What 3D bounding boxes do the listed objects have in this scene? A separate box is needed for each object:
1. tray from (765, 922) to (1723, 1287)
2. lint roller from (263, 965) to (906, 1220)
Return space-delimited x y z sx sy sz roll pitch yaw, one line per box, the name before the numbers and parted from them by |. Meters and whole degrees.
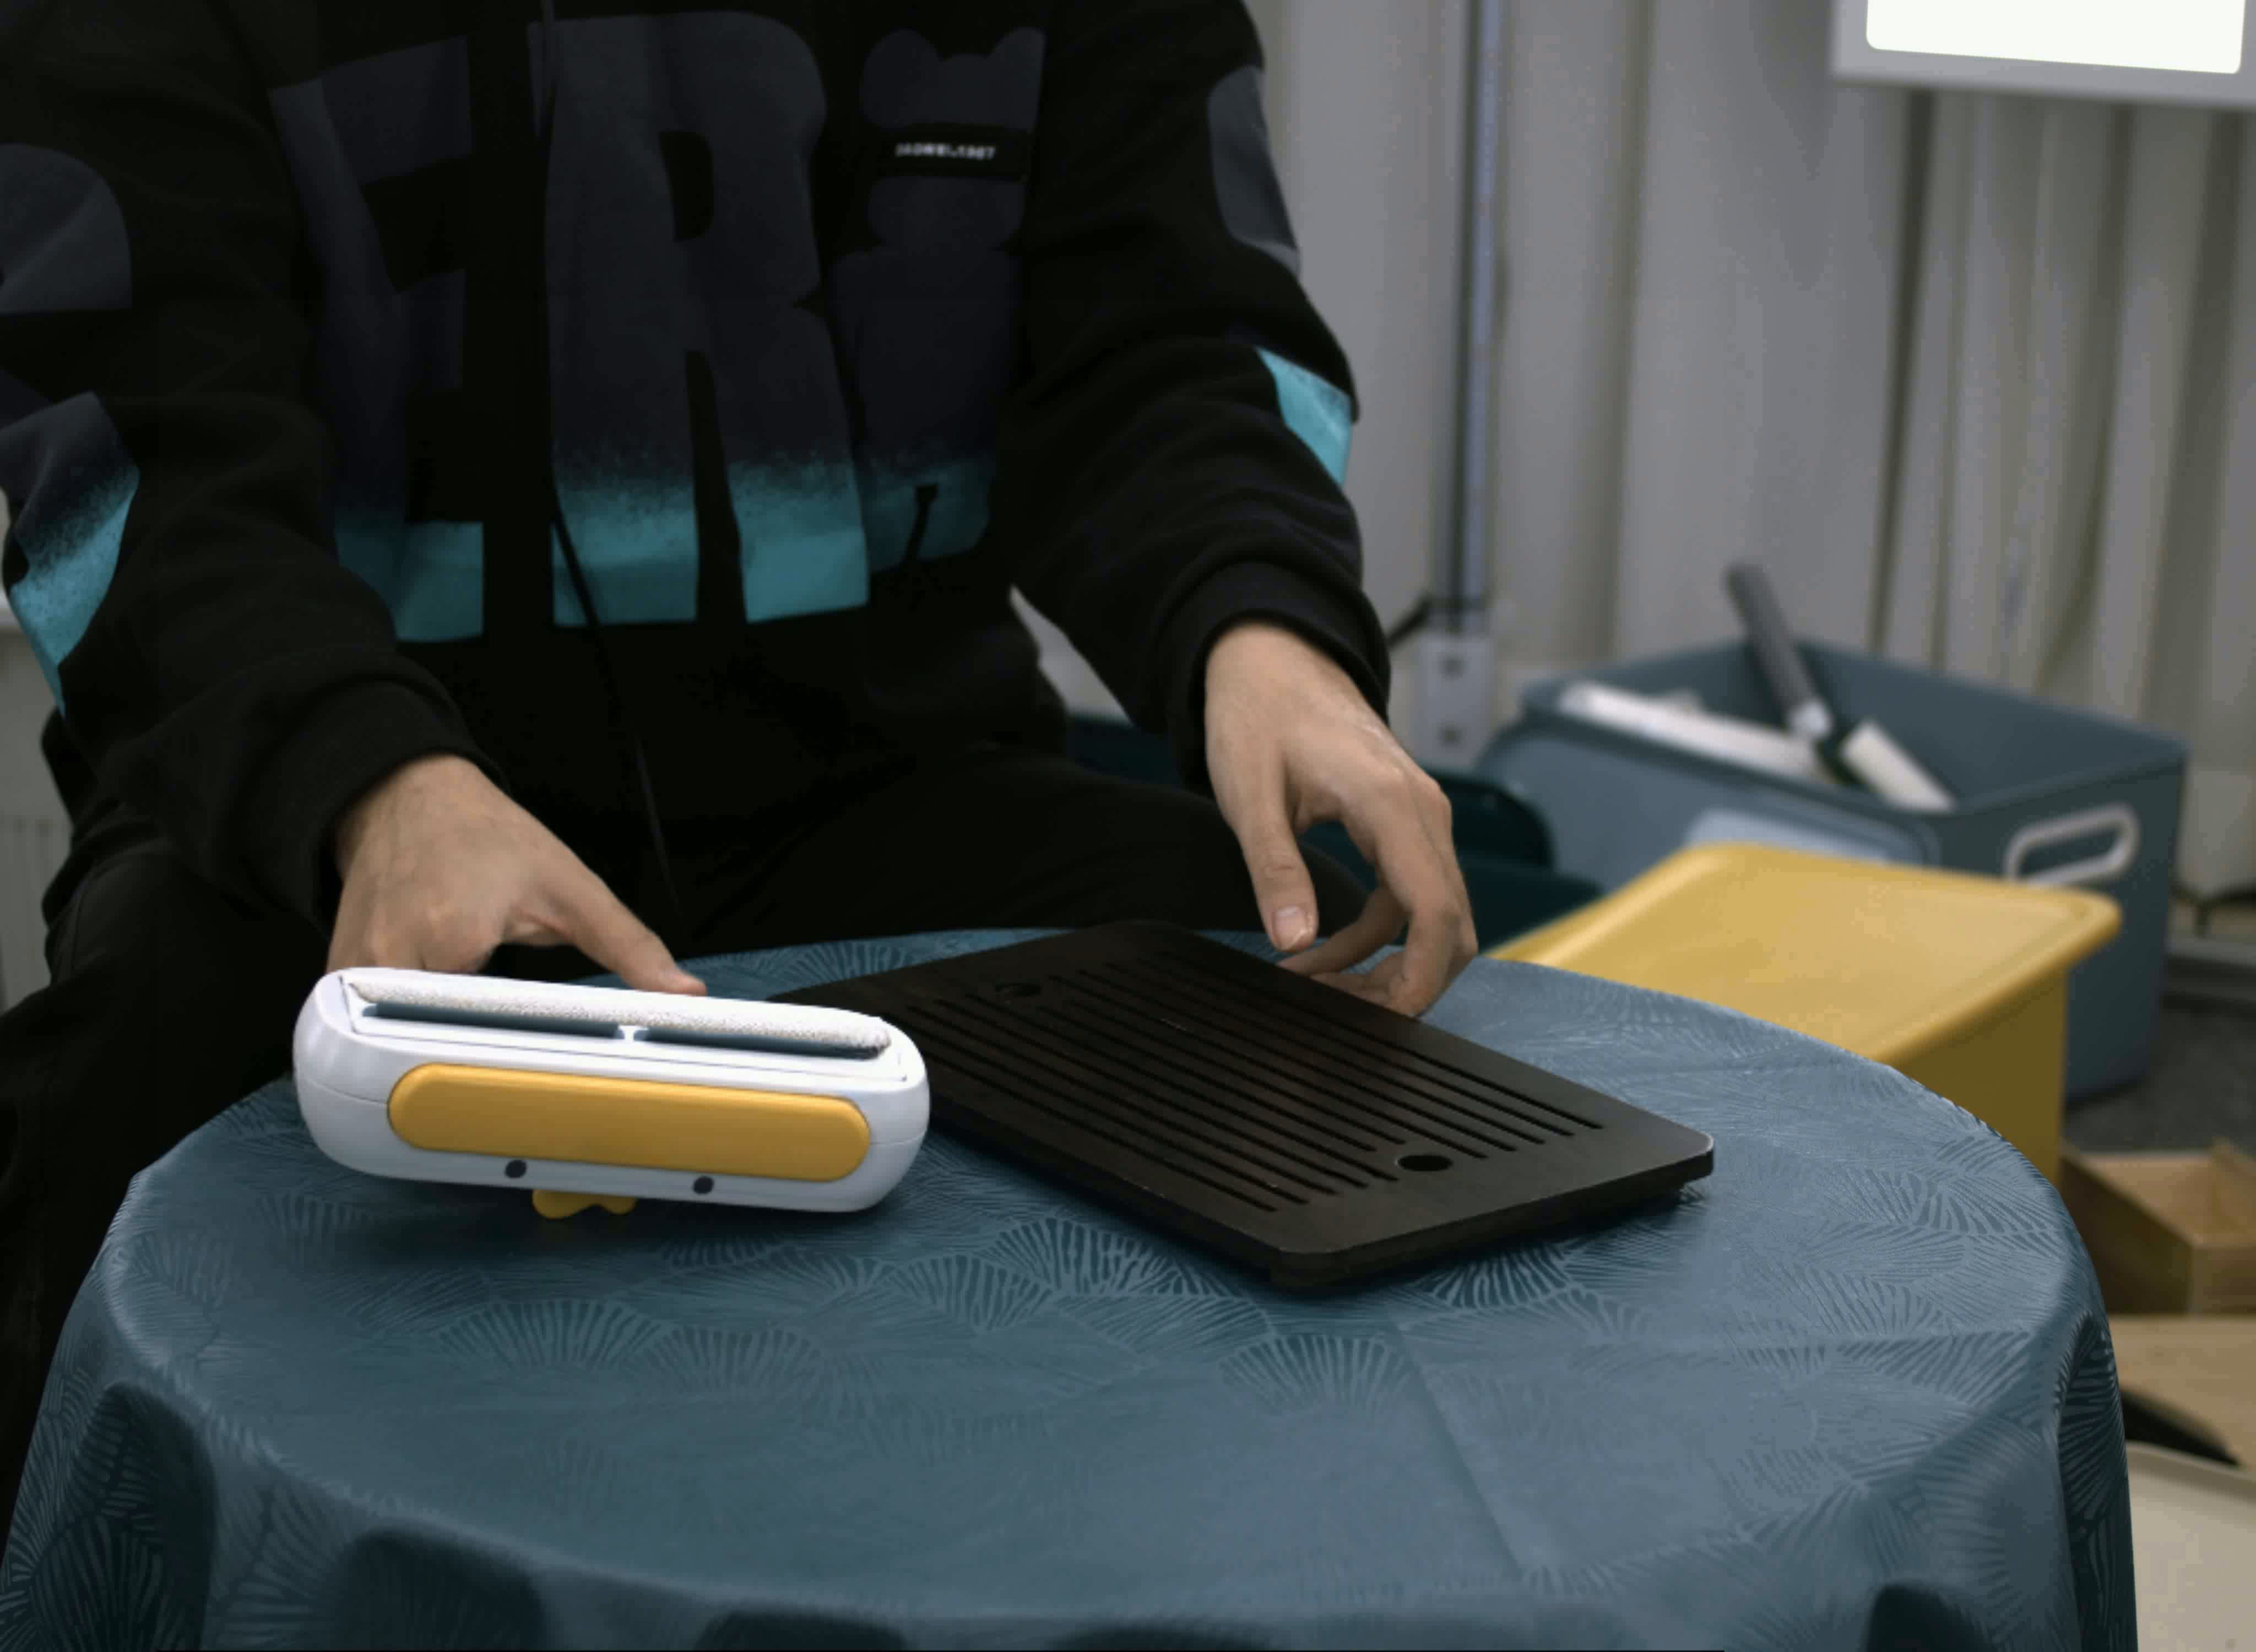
tray | 0.031 0.085 1.685 0.171 0.019 0.302 -11 19 -35
lint roller | -0.174 0.072 1.634 0.193 0.074 0.191 2 13 -13
